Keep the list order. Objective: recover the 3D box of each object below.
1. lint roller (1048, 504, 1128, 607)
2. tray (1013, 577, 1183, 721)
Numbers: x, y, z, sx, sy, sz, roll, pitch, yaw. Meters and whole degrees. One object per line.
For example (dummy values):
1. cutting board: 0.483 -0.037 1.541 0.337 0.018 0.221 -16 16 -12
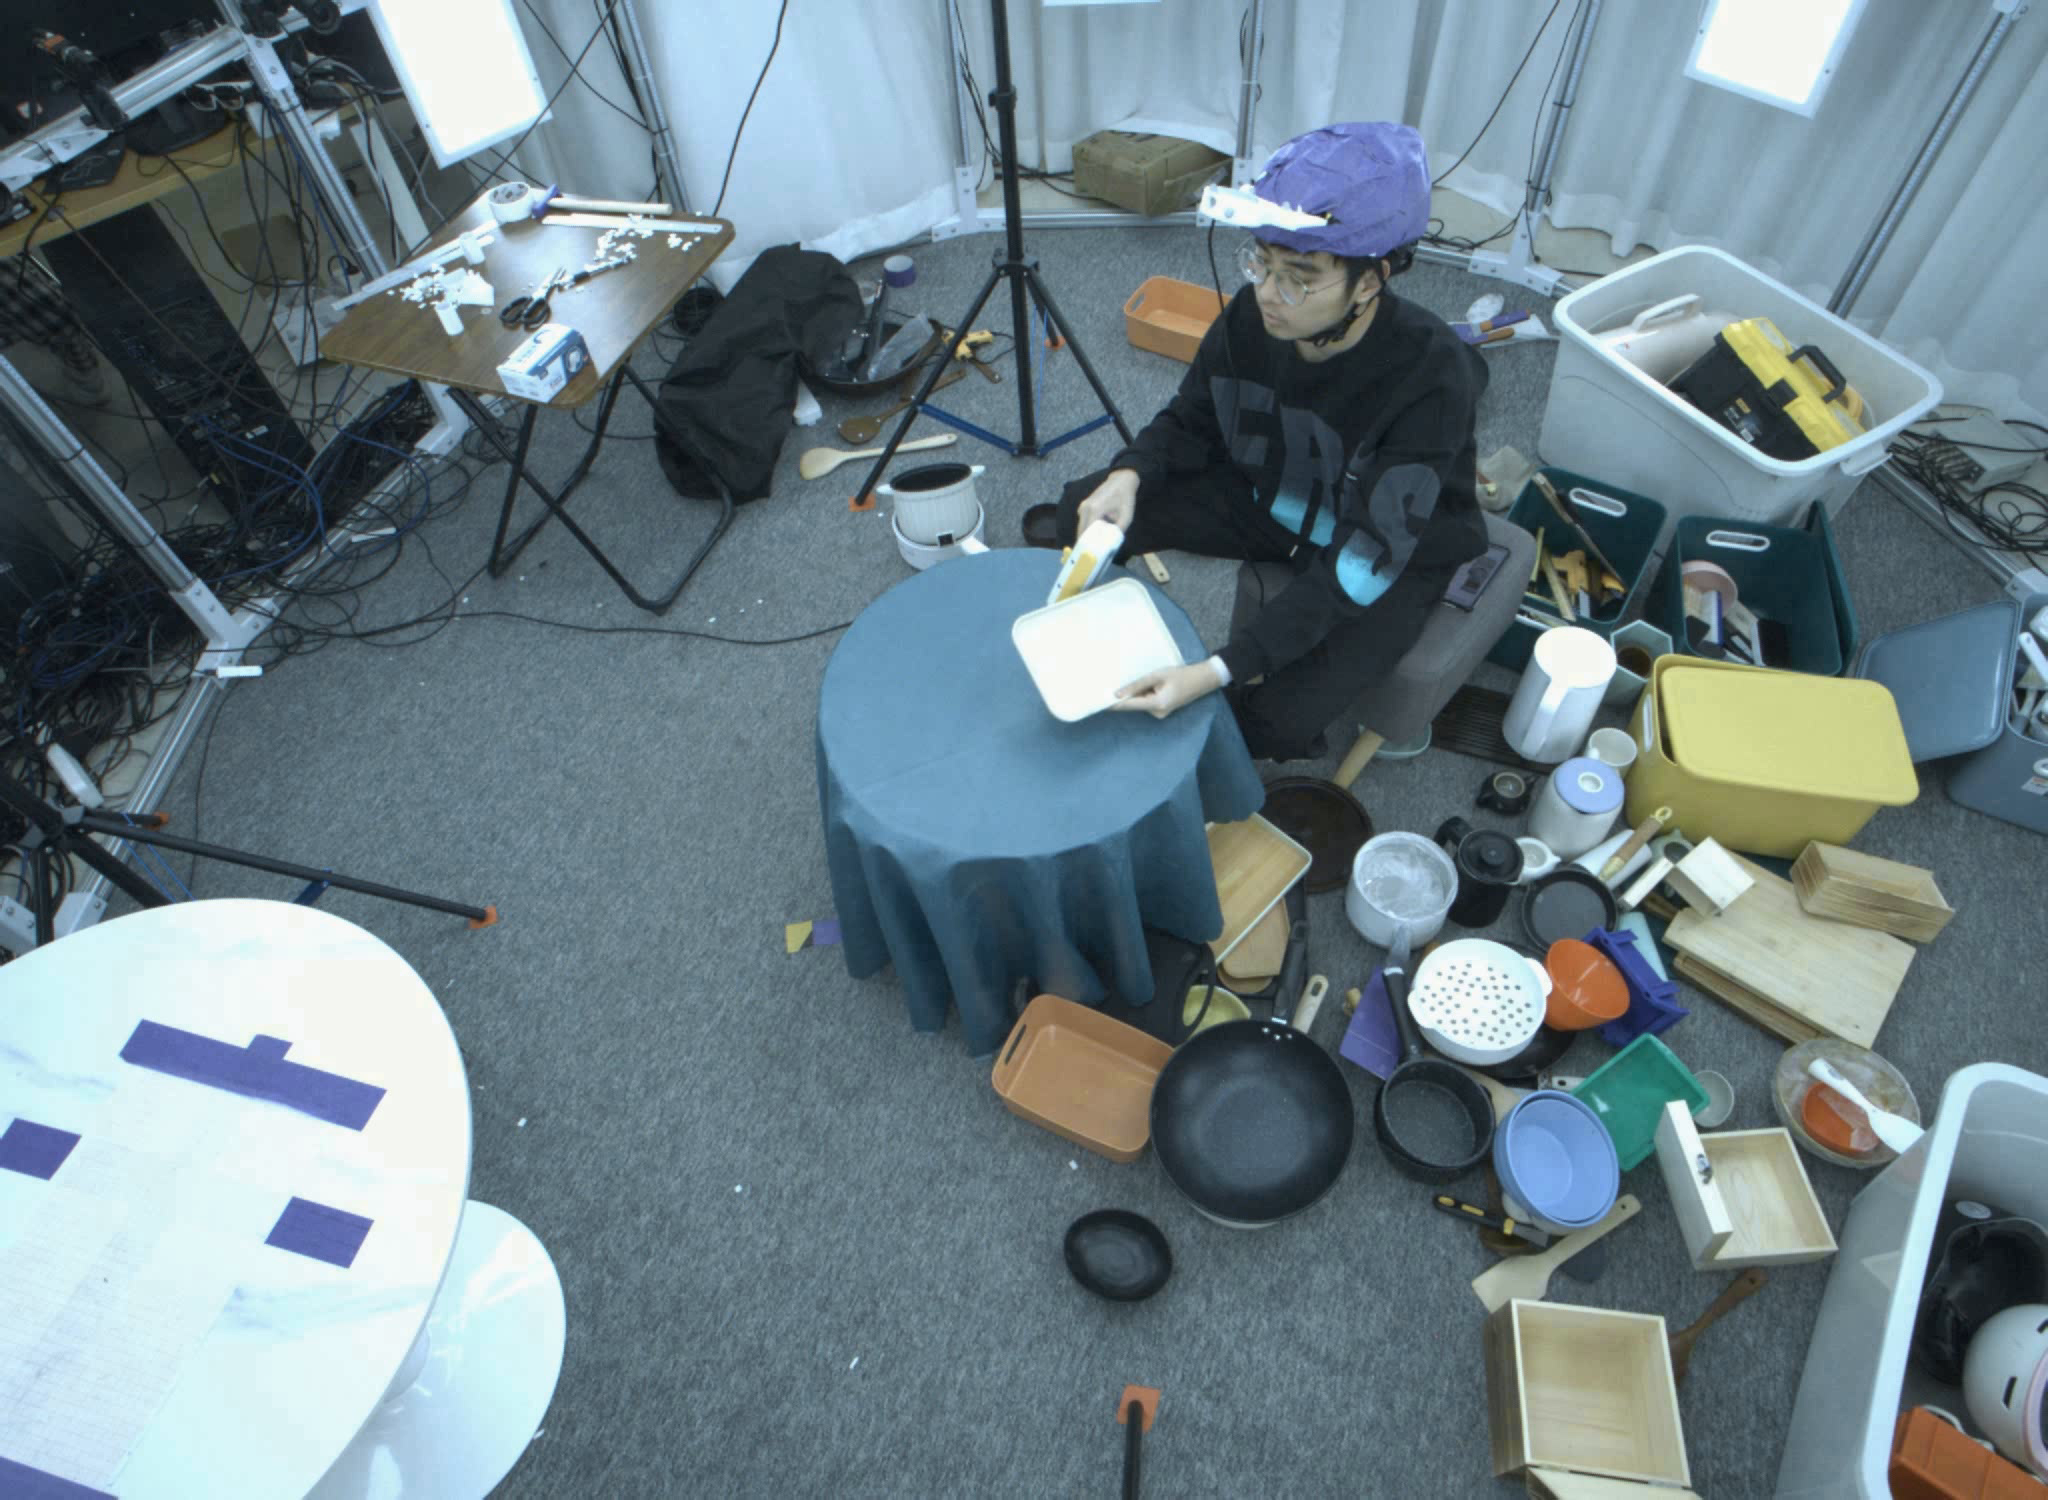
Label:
1. lint roller: 0.113 -0.308 1.870 0.074 0.193 0.193 31 49 5
2. tray: 0.108 -0.148 1.781 0.243 0.017 0.170 -23 83 -28
